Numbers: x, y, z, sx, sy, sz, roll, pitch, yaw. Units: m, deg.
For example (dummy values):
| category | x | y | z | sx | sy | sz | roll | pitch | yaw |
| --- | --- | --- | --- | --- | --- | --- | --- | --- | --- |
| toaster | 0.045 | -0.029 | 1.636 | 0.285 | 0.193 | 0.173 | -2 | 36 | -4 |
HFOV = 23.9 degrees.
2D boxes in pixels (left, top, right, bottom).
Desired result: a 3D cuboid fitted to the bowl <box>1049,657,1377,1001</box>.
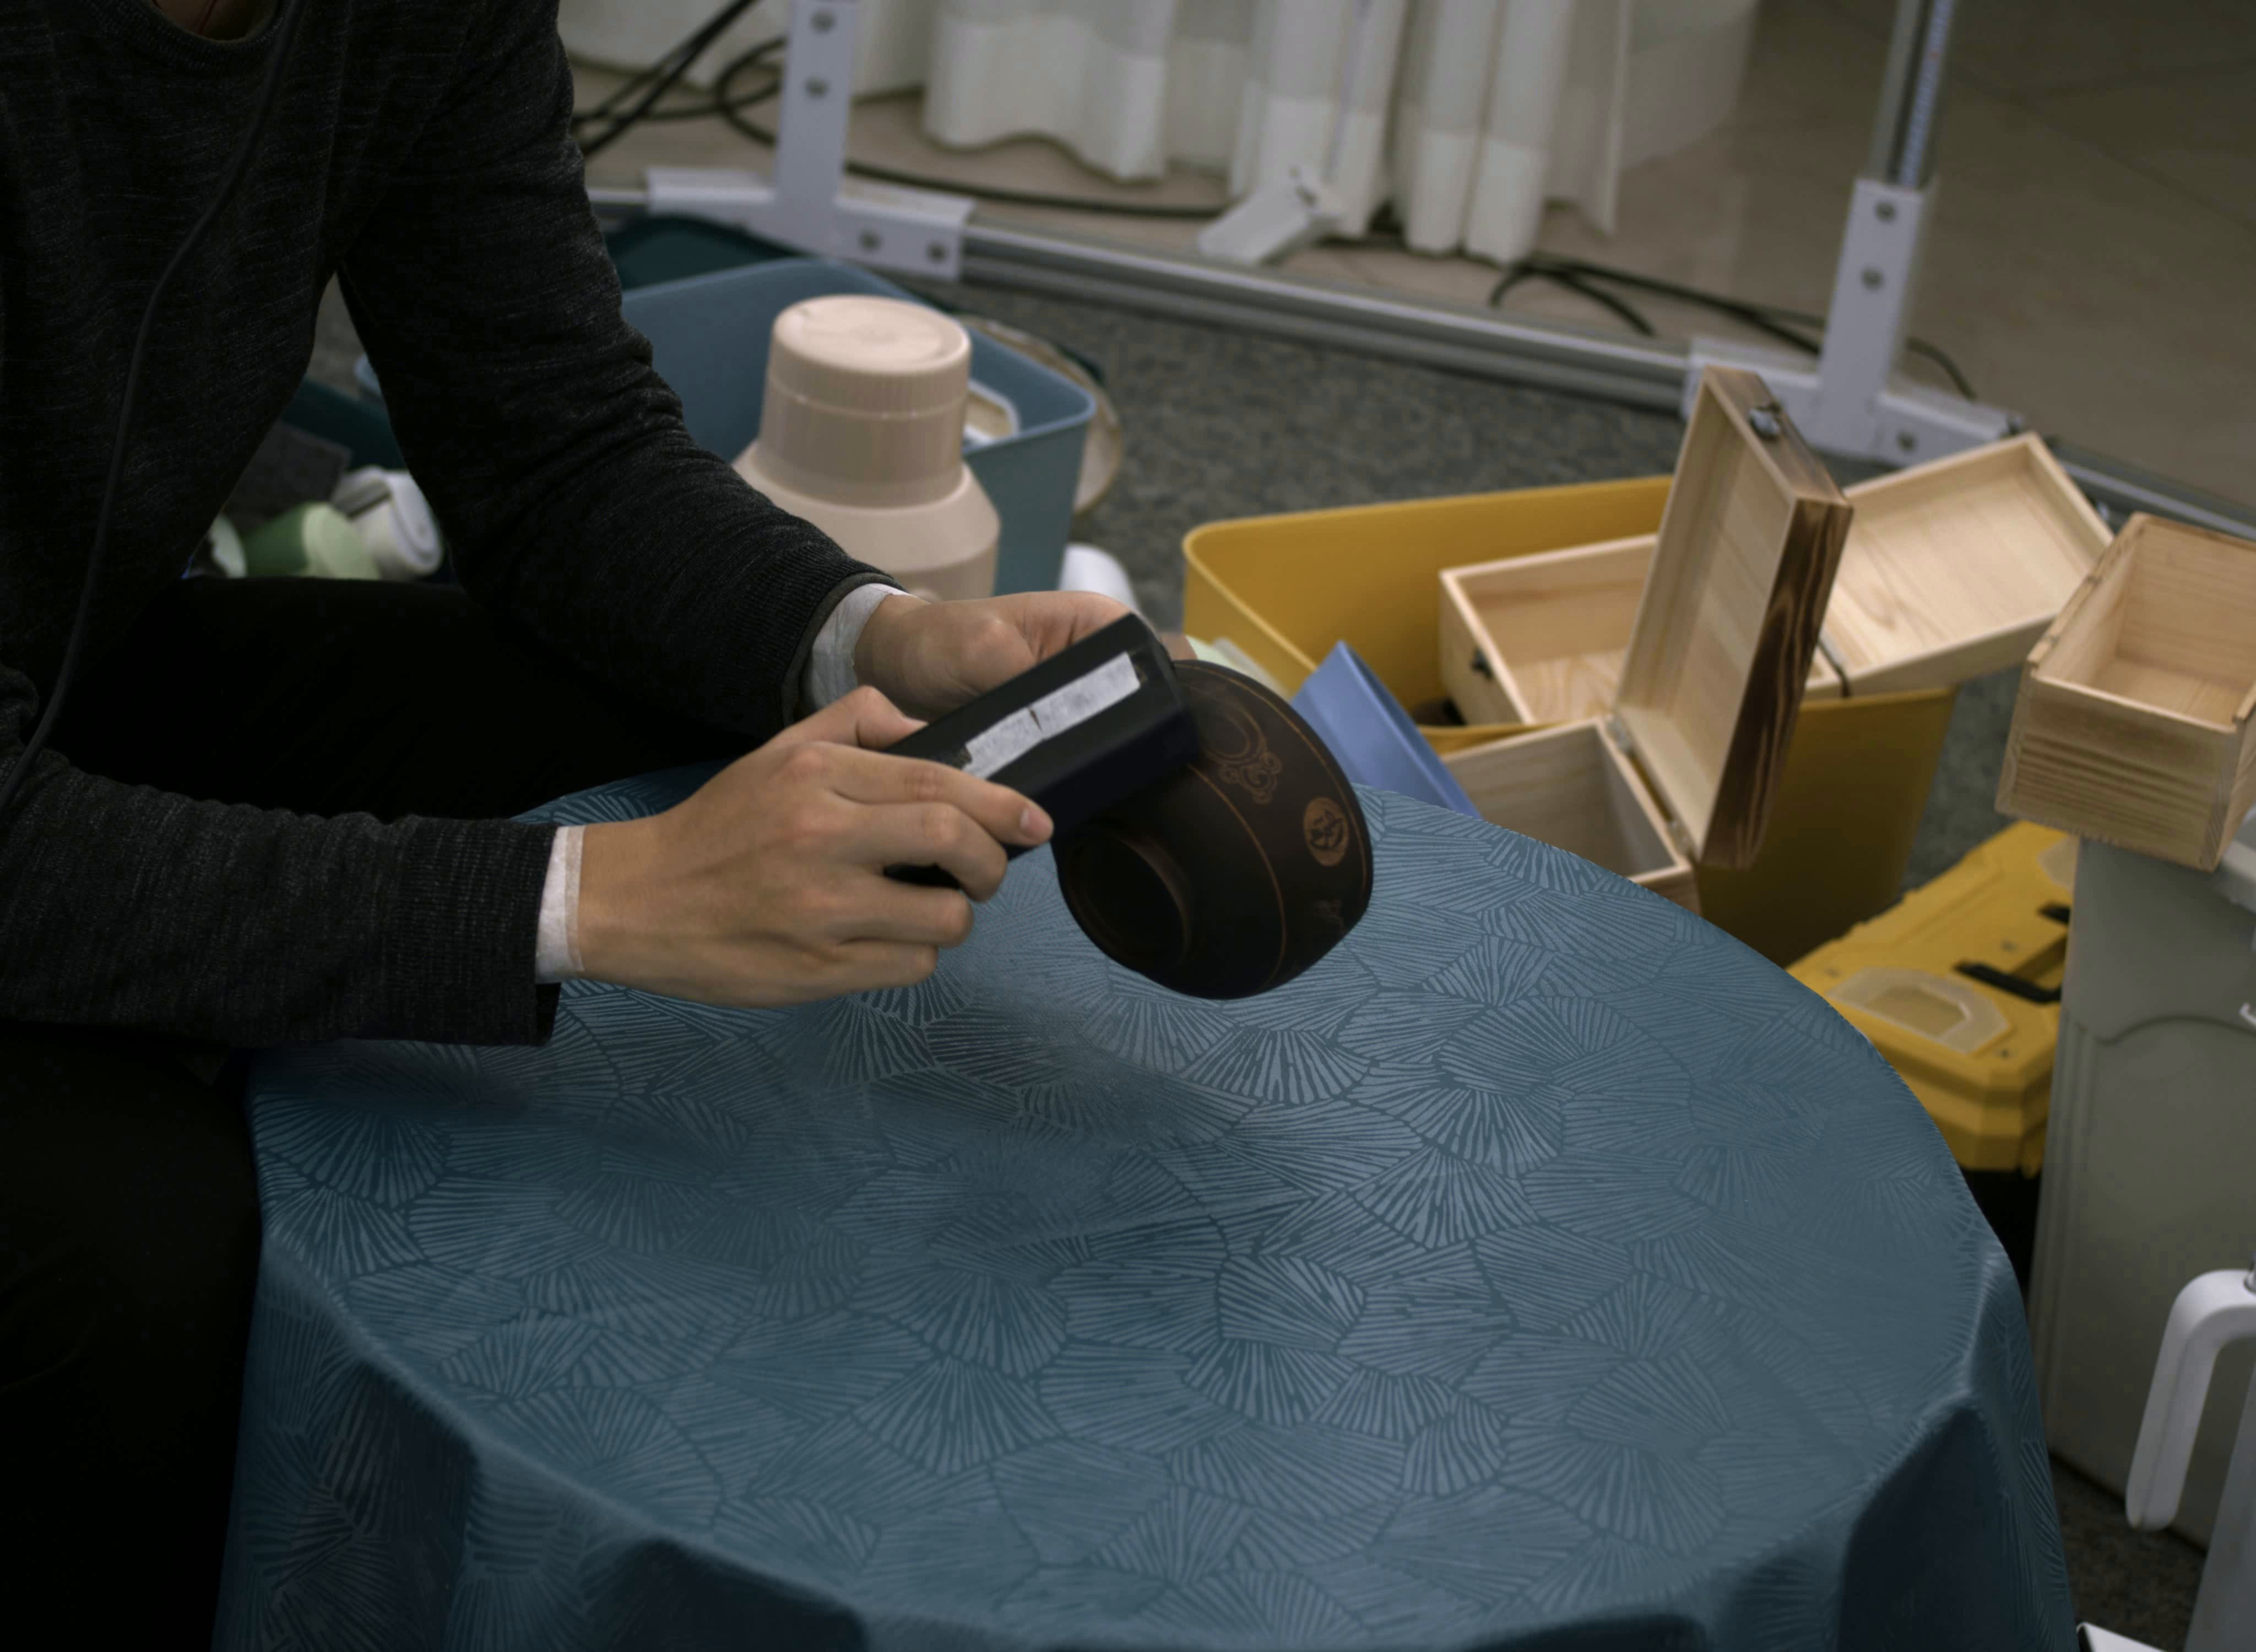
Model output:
| category | x | y | z | sx | sy | sz | roll | pitch | yaw |
| --- | --- | --- | --- | --- | --- | --- | --- | --- | --- |
| bowl | 0.020 | 0.009 | 1.813 | 0.119 | 0.117 | 0.070 | 25 | 47 | 32 |

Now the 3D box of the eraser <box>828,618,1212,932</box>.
| category | x | y | z | sx | sy | sz | roll | pitch | yaw |
| --- | --- | --- | --- | --- | --- | --- | --- | --- | --- |
| eraser | -0.036 | -0.018 | 1.771 | 0.125 | 0.030 | 0.054 | -30 | 48 | 3 |
